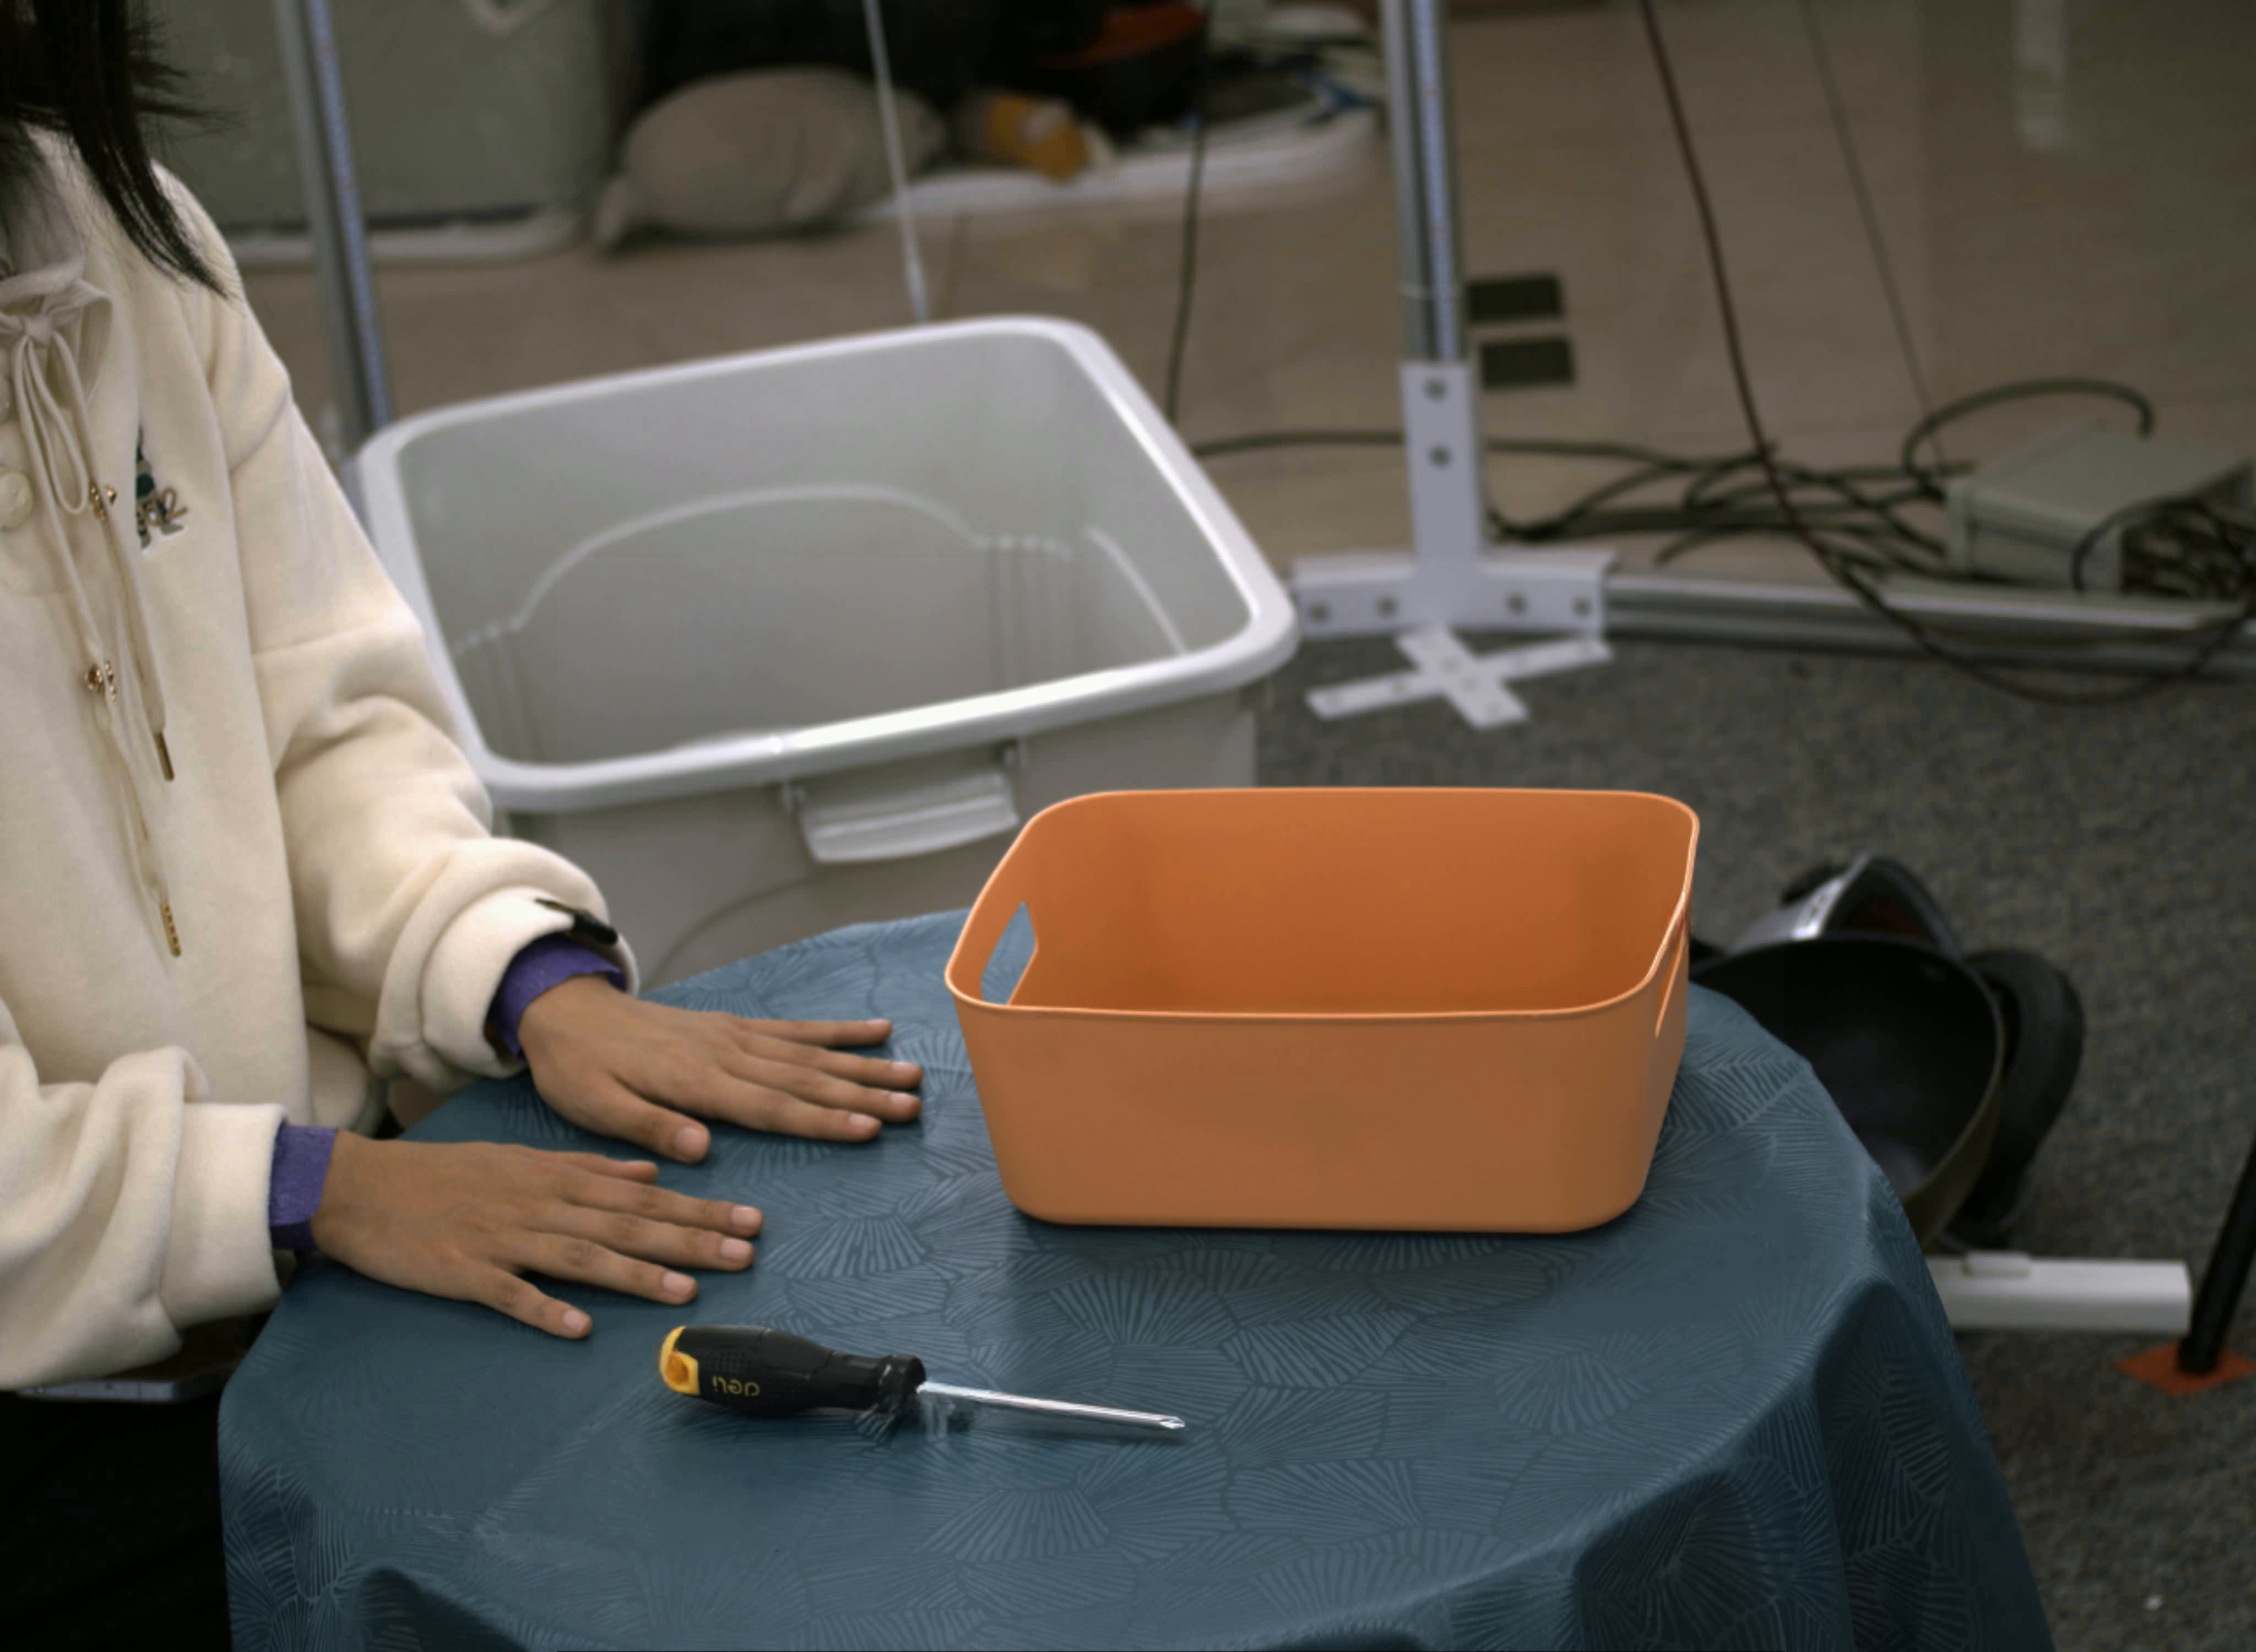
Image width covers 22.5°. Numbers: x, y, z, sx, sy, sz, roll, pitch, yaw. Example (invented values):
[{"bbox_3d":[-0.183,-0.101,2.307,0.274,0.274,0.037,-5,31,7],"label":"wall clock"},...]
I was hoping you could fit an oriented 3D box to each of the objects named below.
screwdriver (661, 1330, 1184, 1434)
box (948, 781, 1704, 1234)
[{"bbox_3d":[-0.074,0.203,2.005,0.195,0.032,0.031,8,28,20],"label":"screwdriver"},{"bbox_3d":[0.081,0.070,2.152,0.272,0.104,0.196,0,27,14],"label":"box"}]
